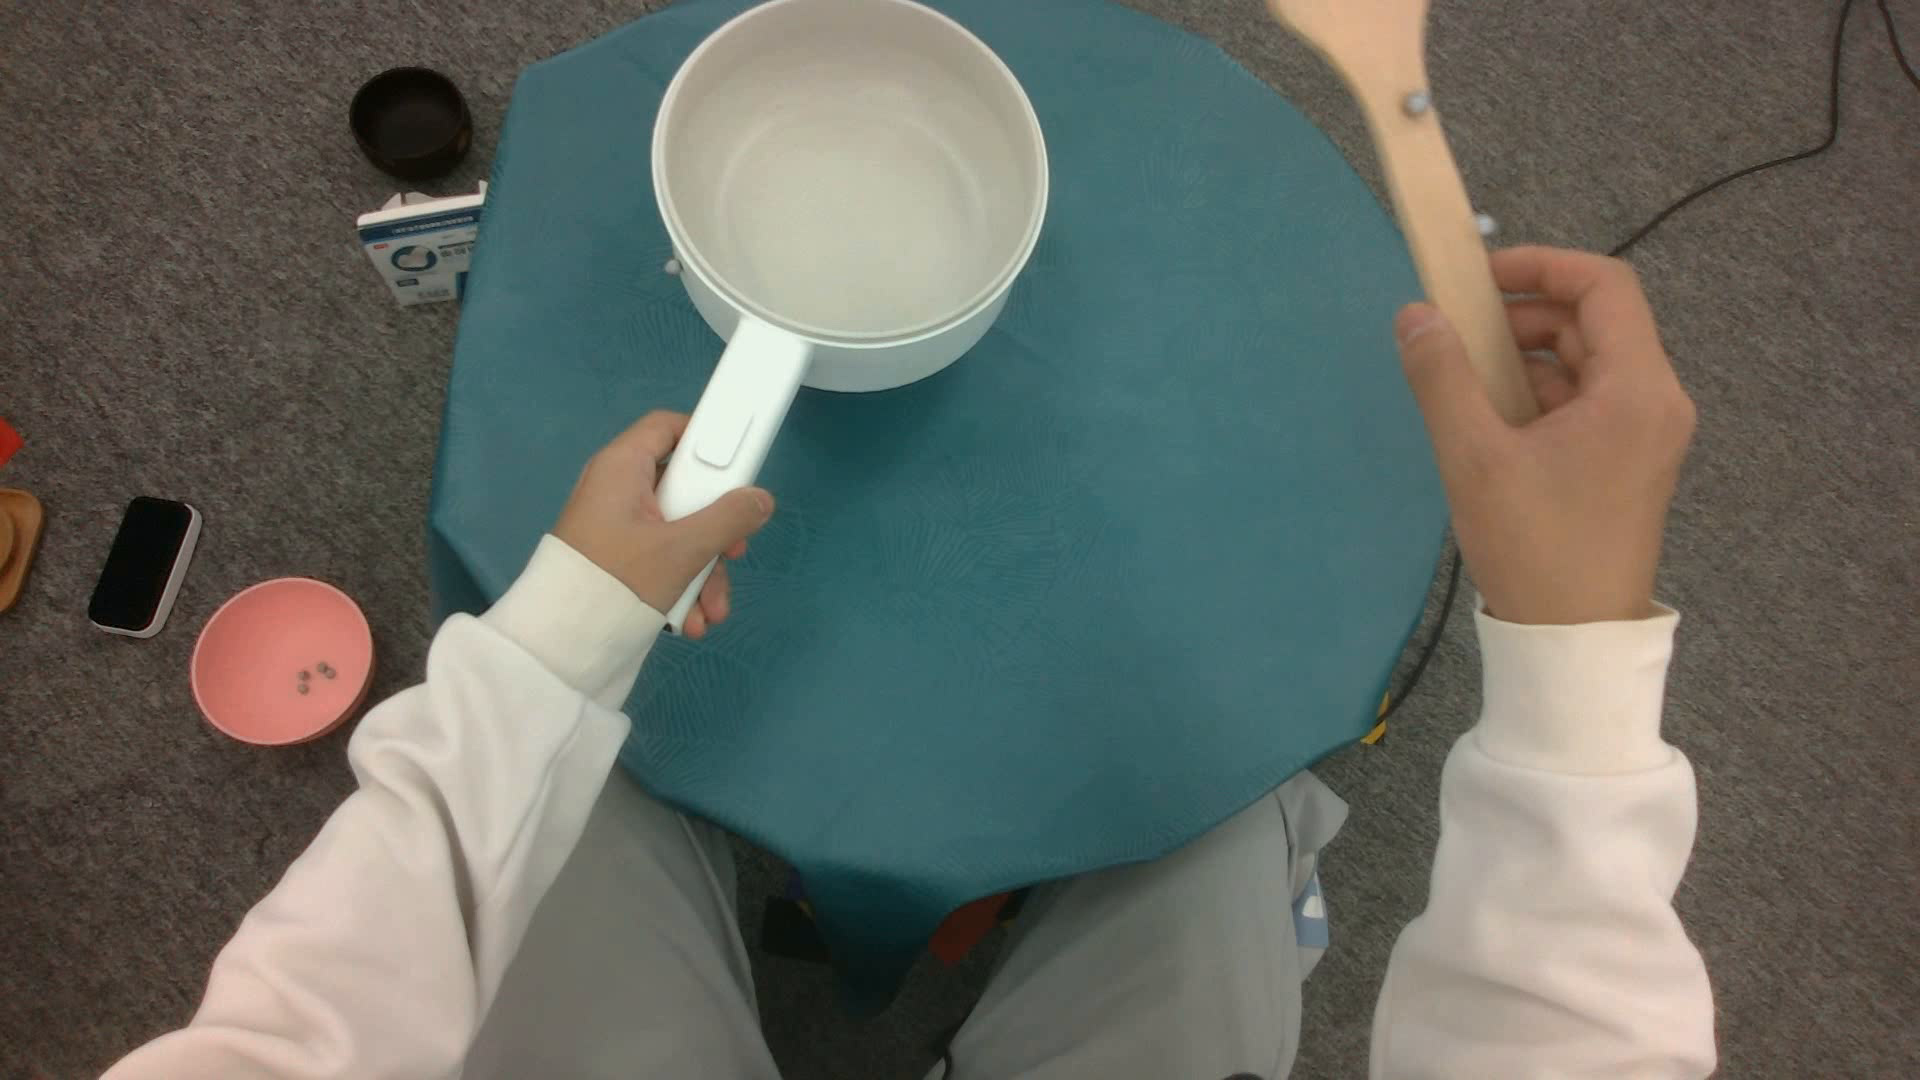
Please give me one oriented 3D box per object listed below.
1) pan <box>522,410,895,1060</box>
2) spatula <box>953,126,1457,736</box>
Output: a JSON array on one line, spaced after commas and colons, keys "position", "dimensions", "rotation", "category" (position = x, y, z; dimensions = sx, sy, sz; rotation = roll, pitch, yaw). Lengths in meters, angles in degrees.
[{"position": [-0.146, 0.100, 0.752], "dimensions": [0.201, 0.101, 0.356], "rotation": [6, 60, -1], "category": "pan"}, {"position": [0.108, -0.043, 0.563], "dimensions": [0.072, 0.010, 0.293], "rotation": [-35, 85, -21], "category": "spatula"}]
